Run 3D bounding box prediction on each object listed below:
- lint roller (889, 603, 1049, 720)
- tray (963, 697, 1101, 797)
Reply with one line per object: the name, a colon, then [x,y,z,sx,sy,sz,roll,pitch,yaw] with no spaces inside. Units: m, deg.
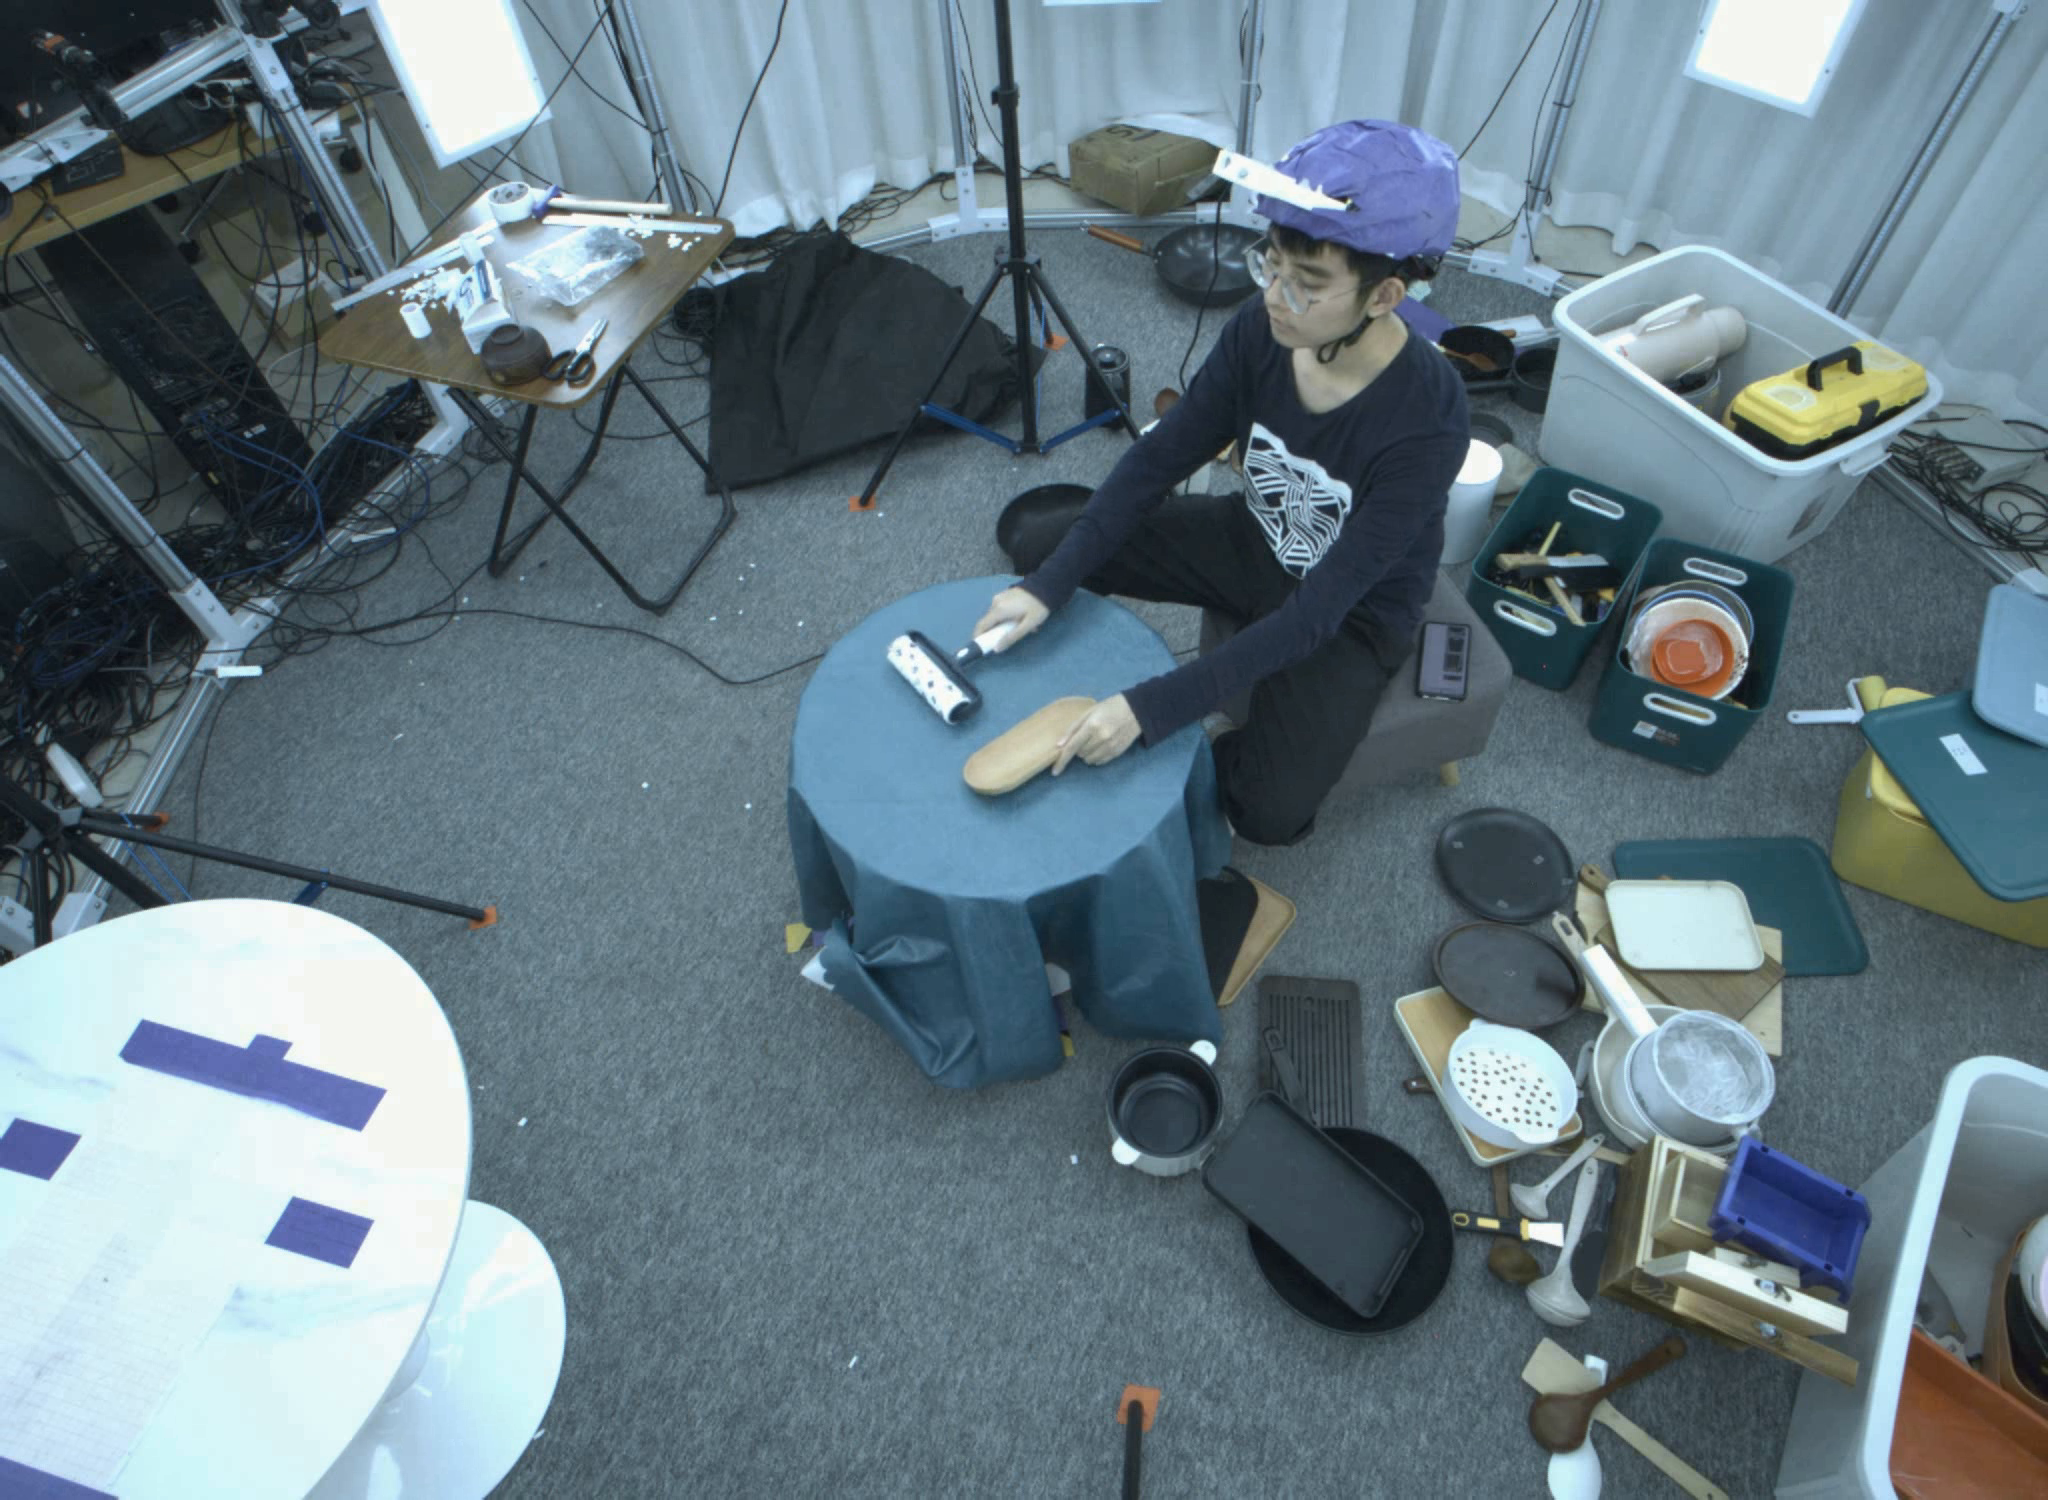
lint roller: [-0.064,-0.164,1.877,0.249,0.051,0.173,-35,60,-19]
tray: [0.013,-0.006,1.772,0.233,0.020,0.099,-36,41,-21]
